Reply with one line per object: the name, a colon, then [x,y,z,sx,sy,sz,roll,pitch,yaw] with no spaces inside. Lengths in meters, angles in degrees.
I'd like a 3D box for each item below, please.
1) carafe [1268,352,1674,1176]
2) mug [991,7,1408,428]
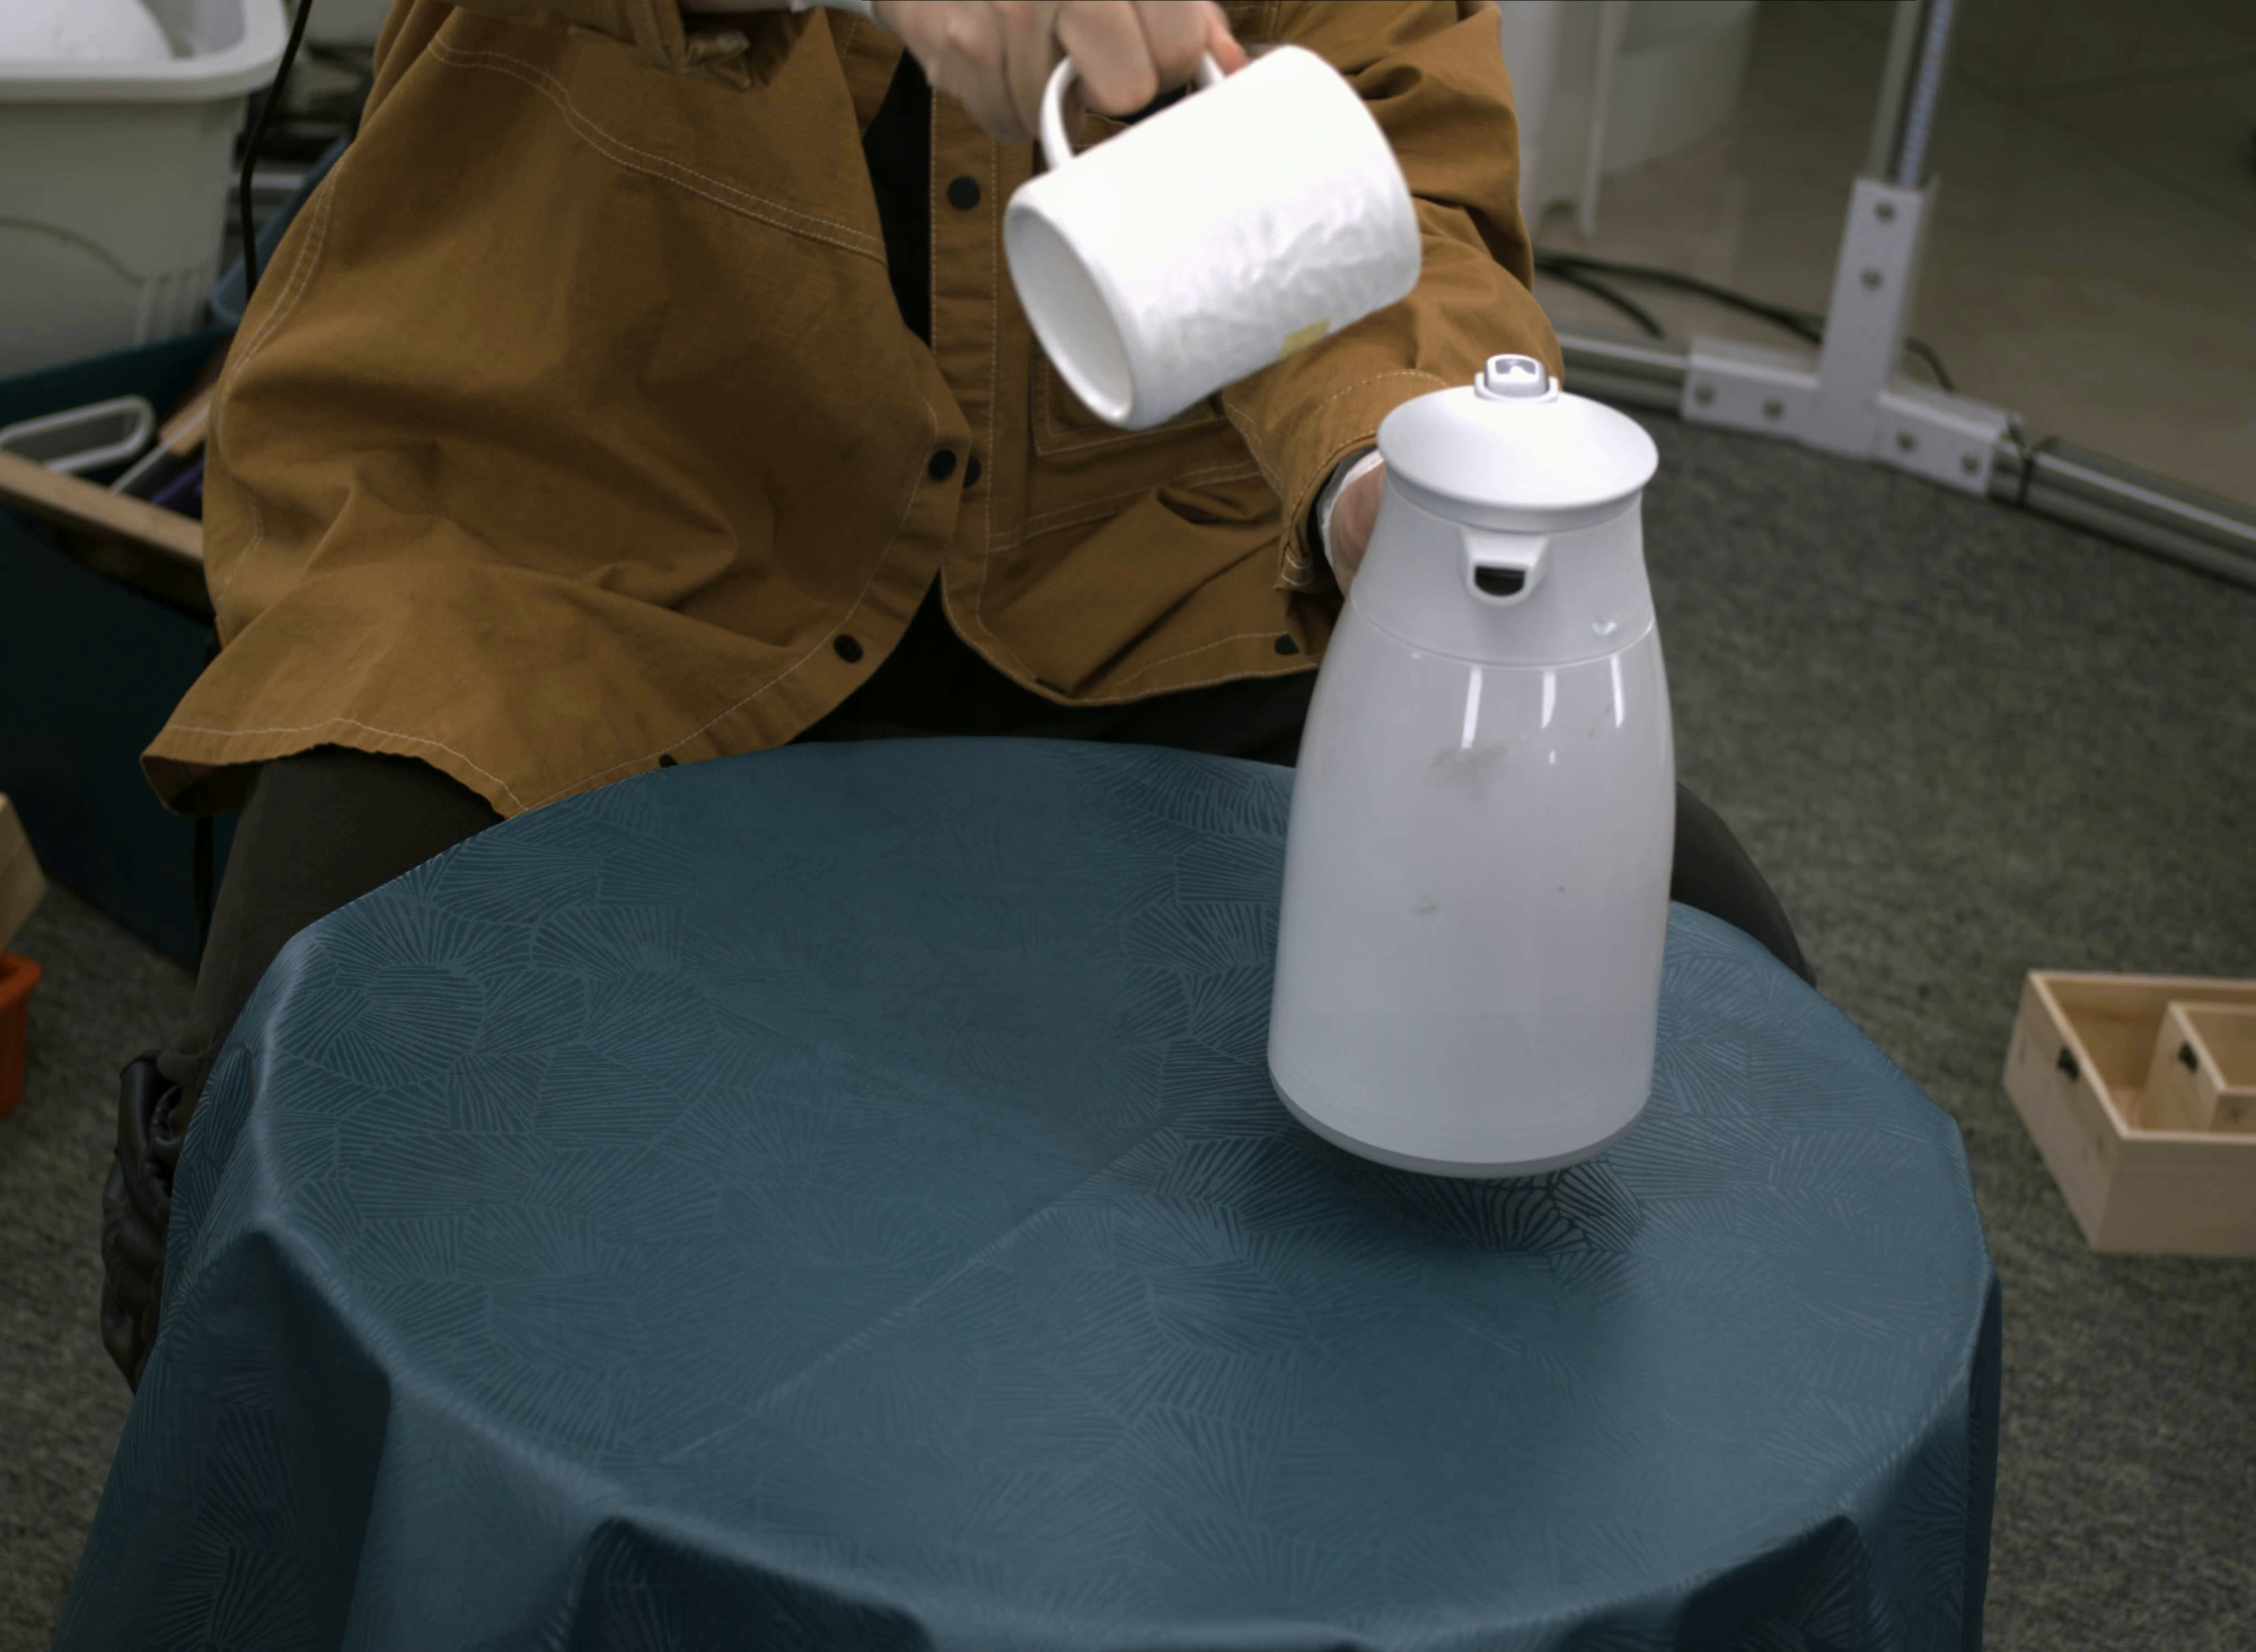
carafe: [0.119,-0.031,1.788,0.132,0.247,0.168,4,28,4]
mug: [0.012,-0.193,1.636,0.101,0.085,0.119,-30,77,-16]
